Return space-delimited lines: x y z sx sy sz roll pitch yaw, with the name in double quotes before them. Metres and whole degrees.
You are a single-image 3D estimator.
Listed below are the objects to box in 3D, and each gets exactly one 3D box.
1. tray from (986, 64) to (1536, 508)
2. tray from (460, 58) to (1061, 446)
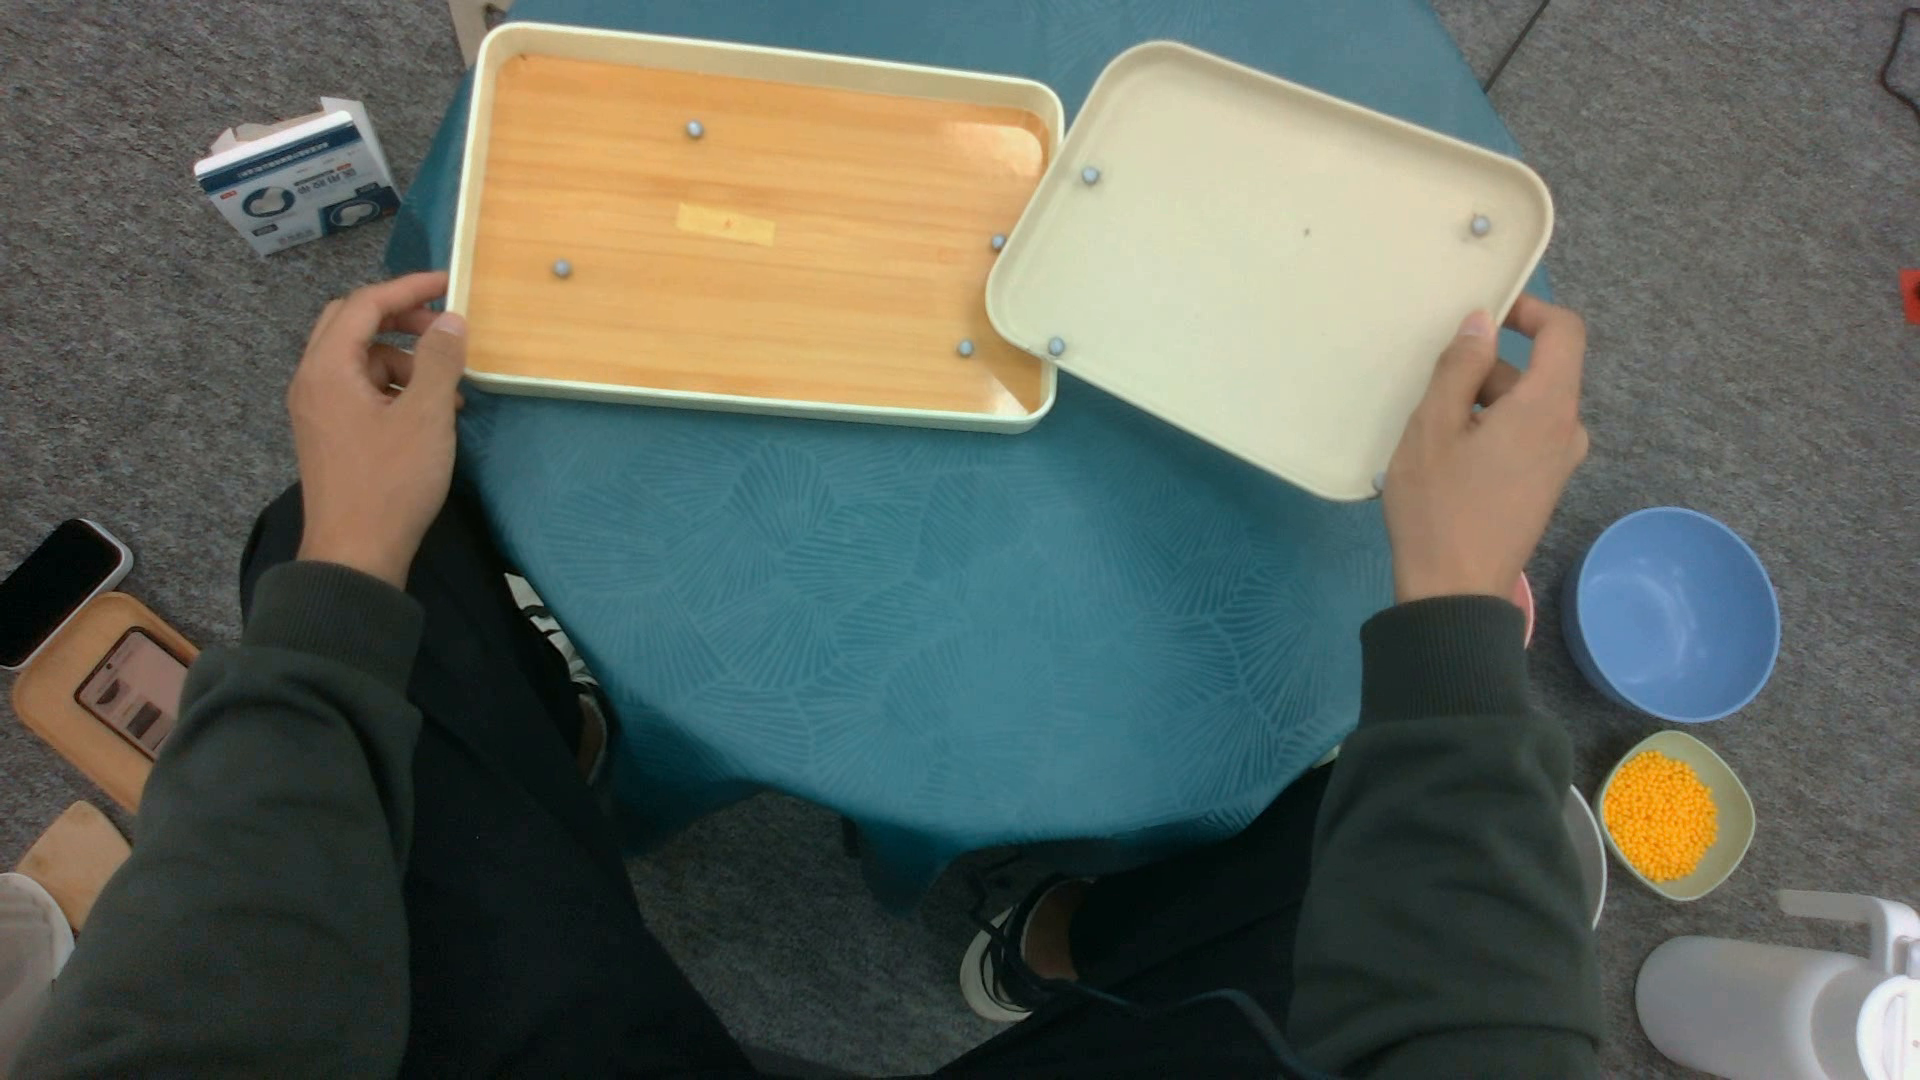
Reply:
"tray" 0.138 -0.129 0.672 0.239 0.017 0.171 30 92 28
"tray" -0.097 -0.150 0.723 0.300 0.027 0.192 3 78 -6
